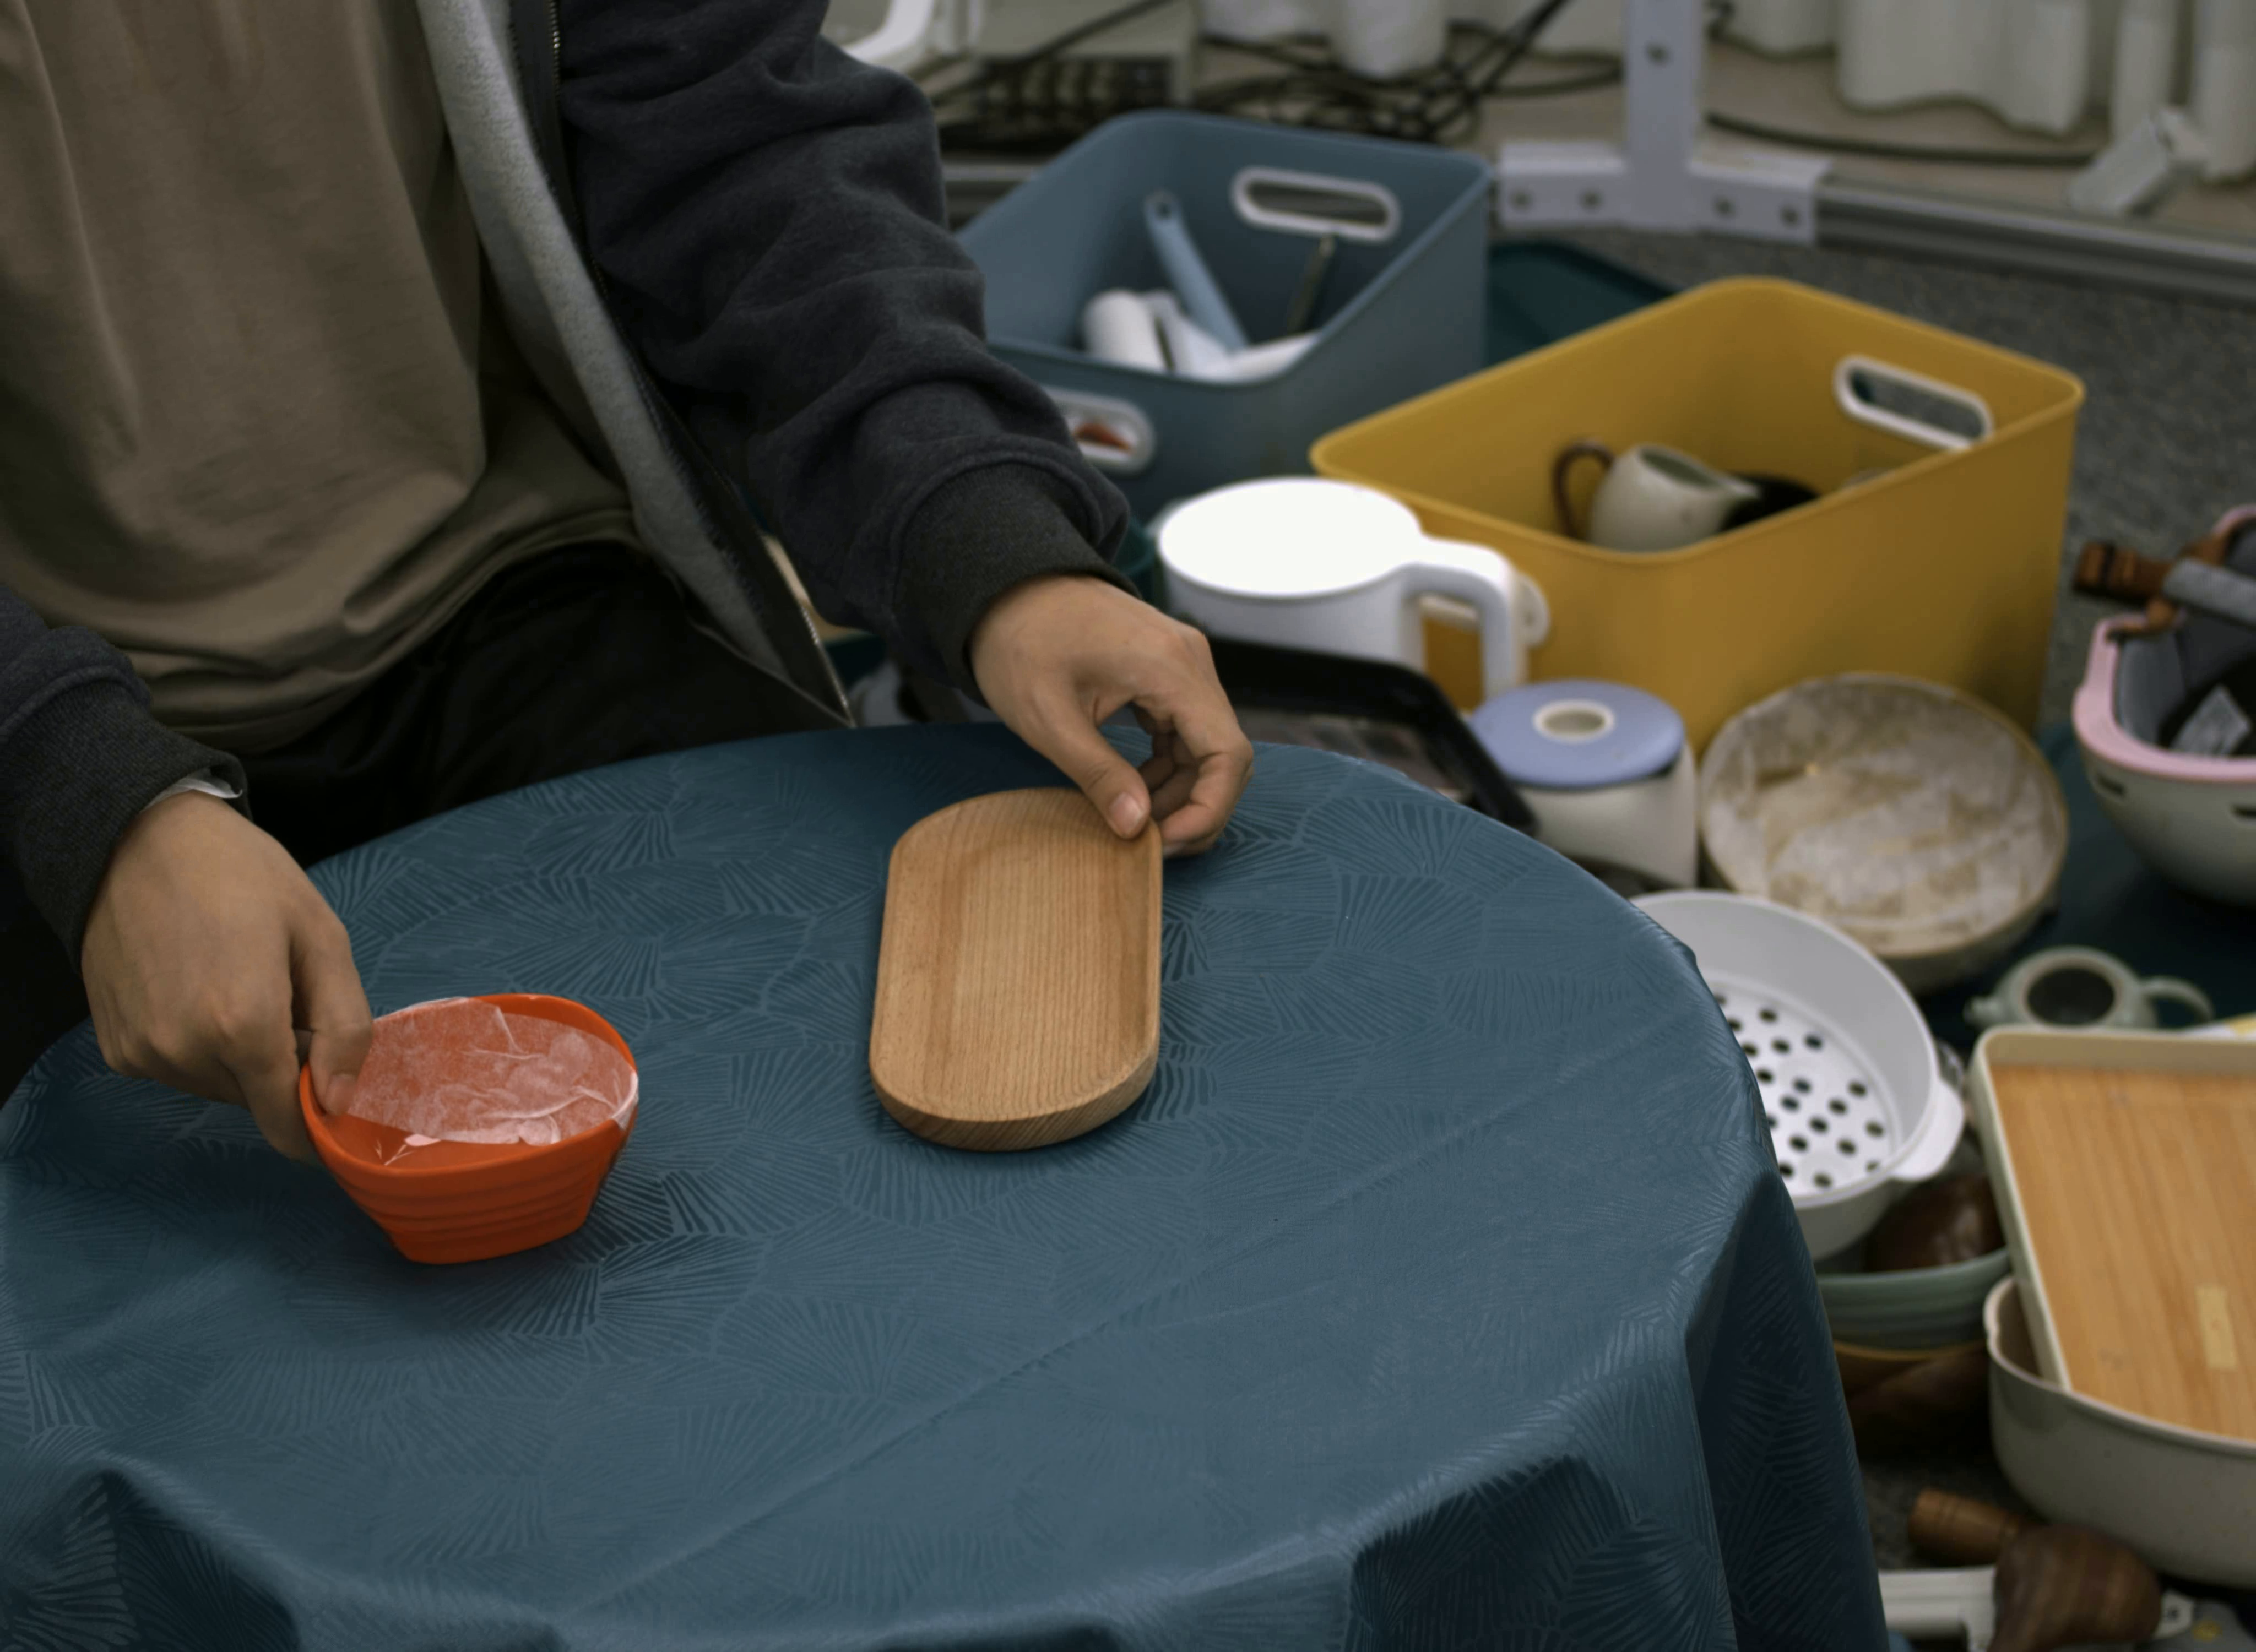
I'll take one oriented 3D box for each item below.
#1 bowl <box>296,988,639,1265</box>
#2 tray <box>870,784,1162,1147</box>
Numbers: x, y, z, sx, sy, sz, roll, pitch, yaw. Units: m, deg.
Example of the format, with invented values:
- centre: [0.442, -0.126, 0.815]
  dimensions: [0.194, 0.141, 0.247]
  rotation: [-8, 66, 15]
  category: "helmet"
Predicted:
- centre: [-0.216, 0.104, 1.860]
  dimensions: [0.118, 0.051, 0.121]
  rotation: [-3, 28, 2]
  category: "bowl"
- centre: [-0.039, 0.047, 1.986]
  dimensions: [0.101, 0.020, 0.234]
  rotation: [-5, 27, 2]
  category: "tray"
